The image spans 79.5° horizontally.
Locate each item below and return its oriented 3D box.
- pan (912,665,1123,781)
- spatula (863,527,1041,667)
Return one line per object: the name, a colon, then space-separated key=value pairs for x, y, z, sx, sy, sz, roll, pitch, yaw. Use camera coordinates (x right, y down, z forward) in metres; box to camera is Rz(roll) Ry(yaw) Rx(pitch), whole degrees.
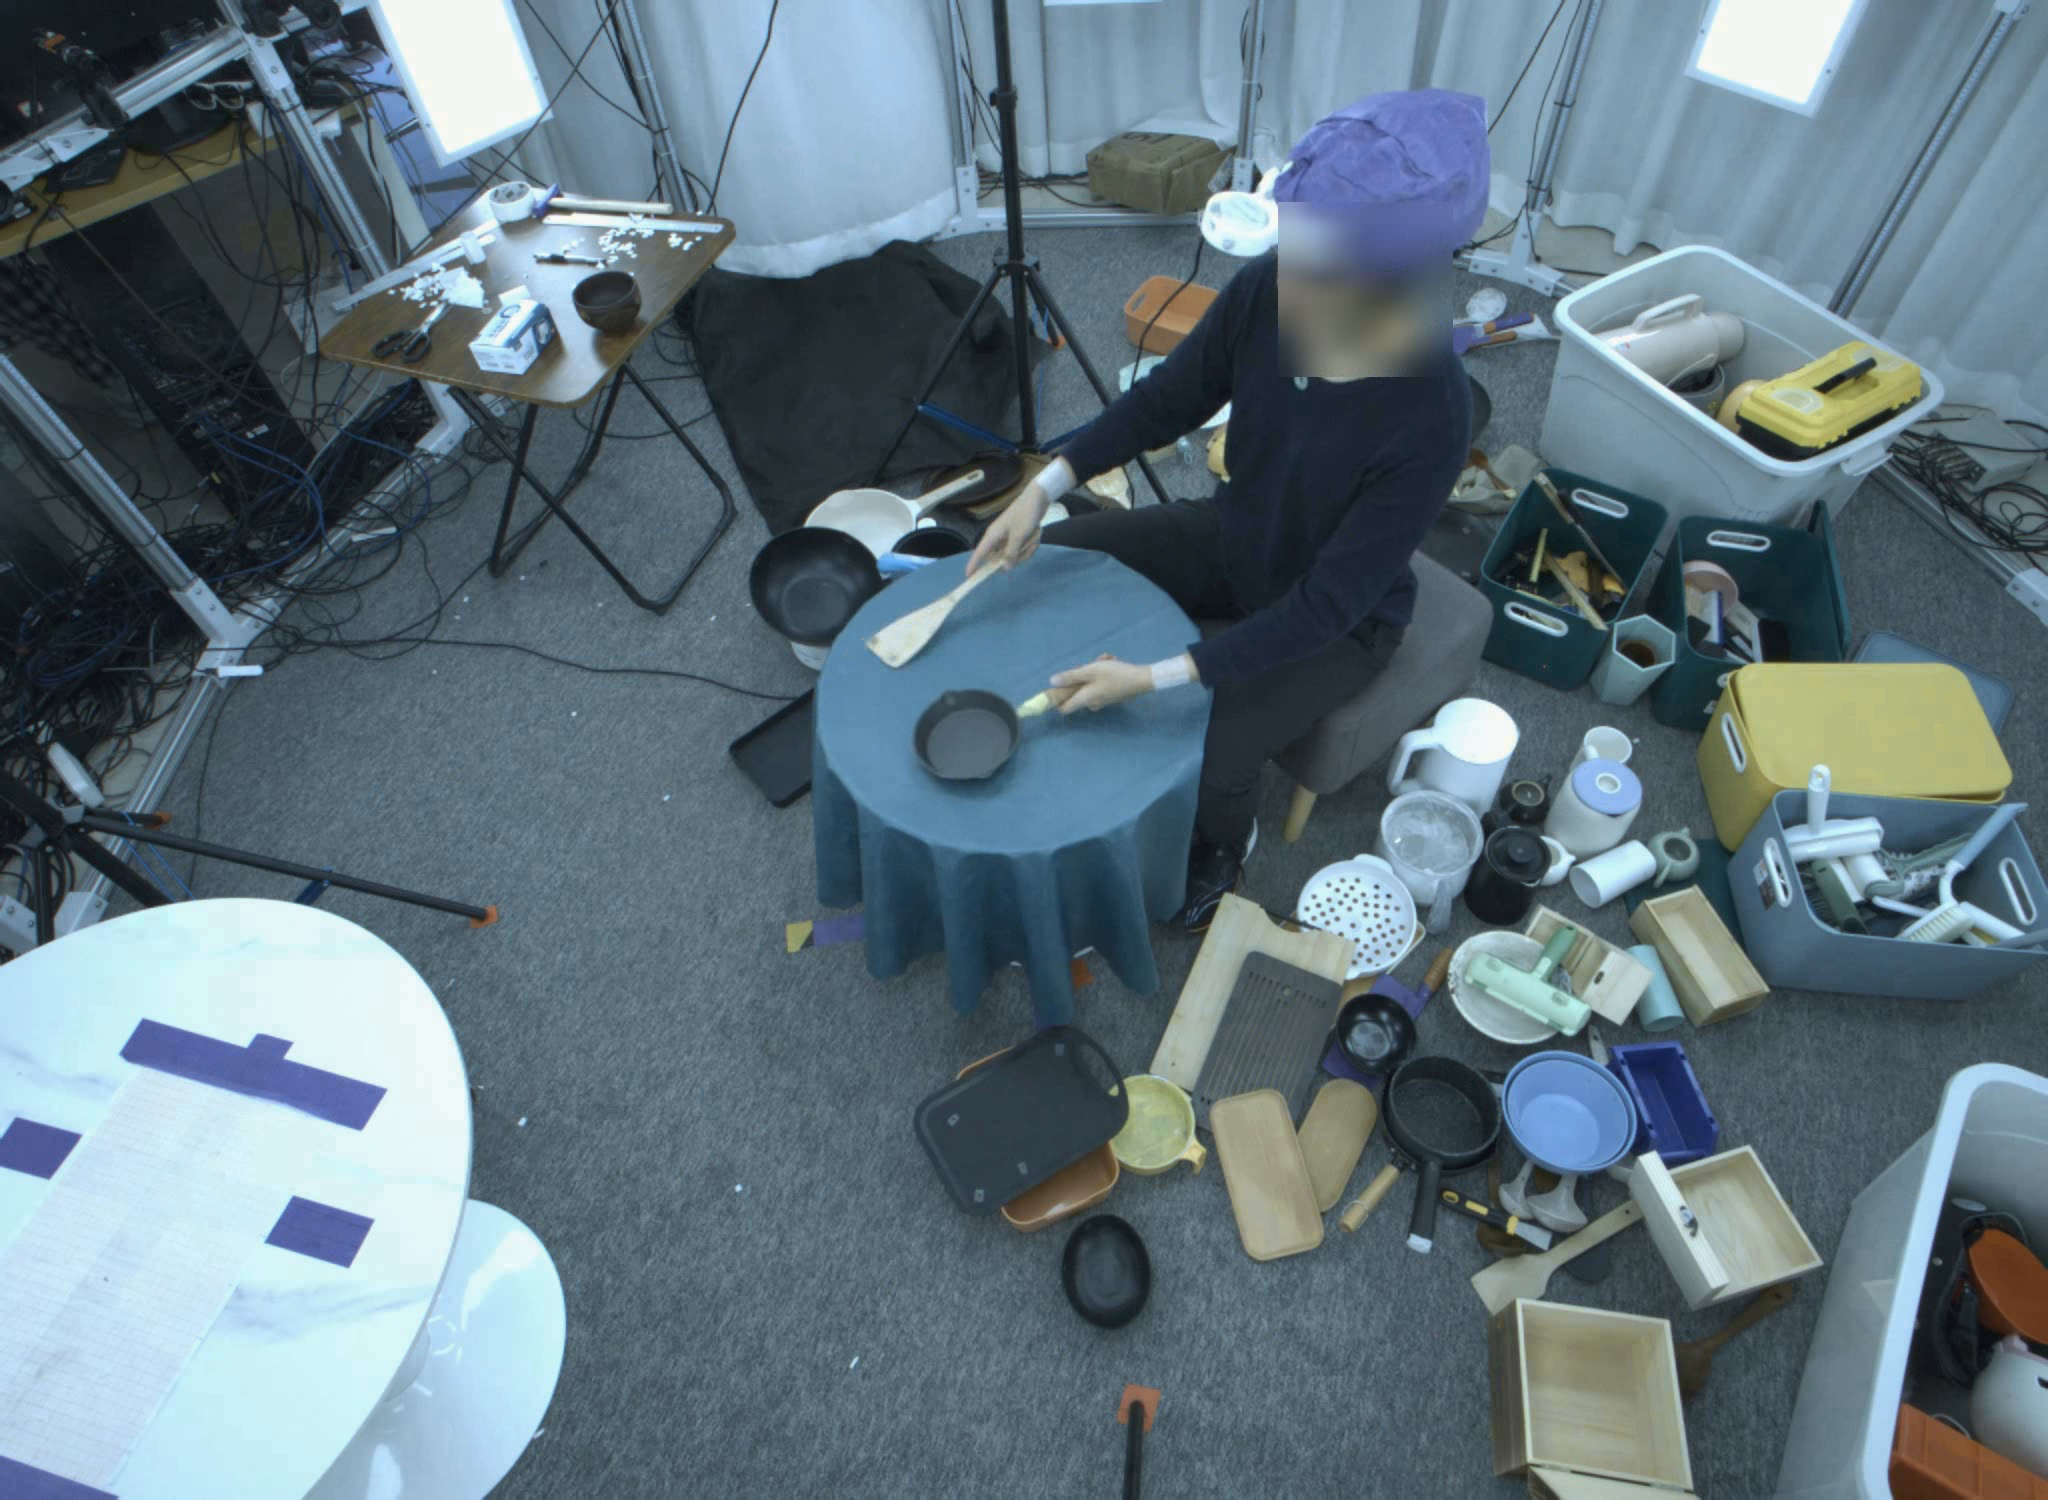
pan: x=-0.004 y=-0.051 z=1.781 sx=0.325 sy=0.050 sz=0.166 roll=-21 pitch=57 yaw=-6
spatula: x=-0.106 y=-0.242 z=1.898 sx=0.327 sy=0.017 sz=0.078 roll=-39 pitch=56 yaw=1
